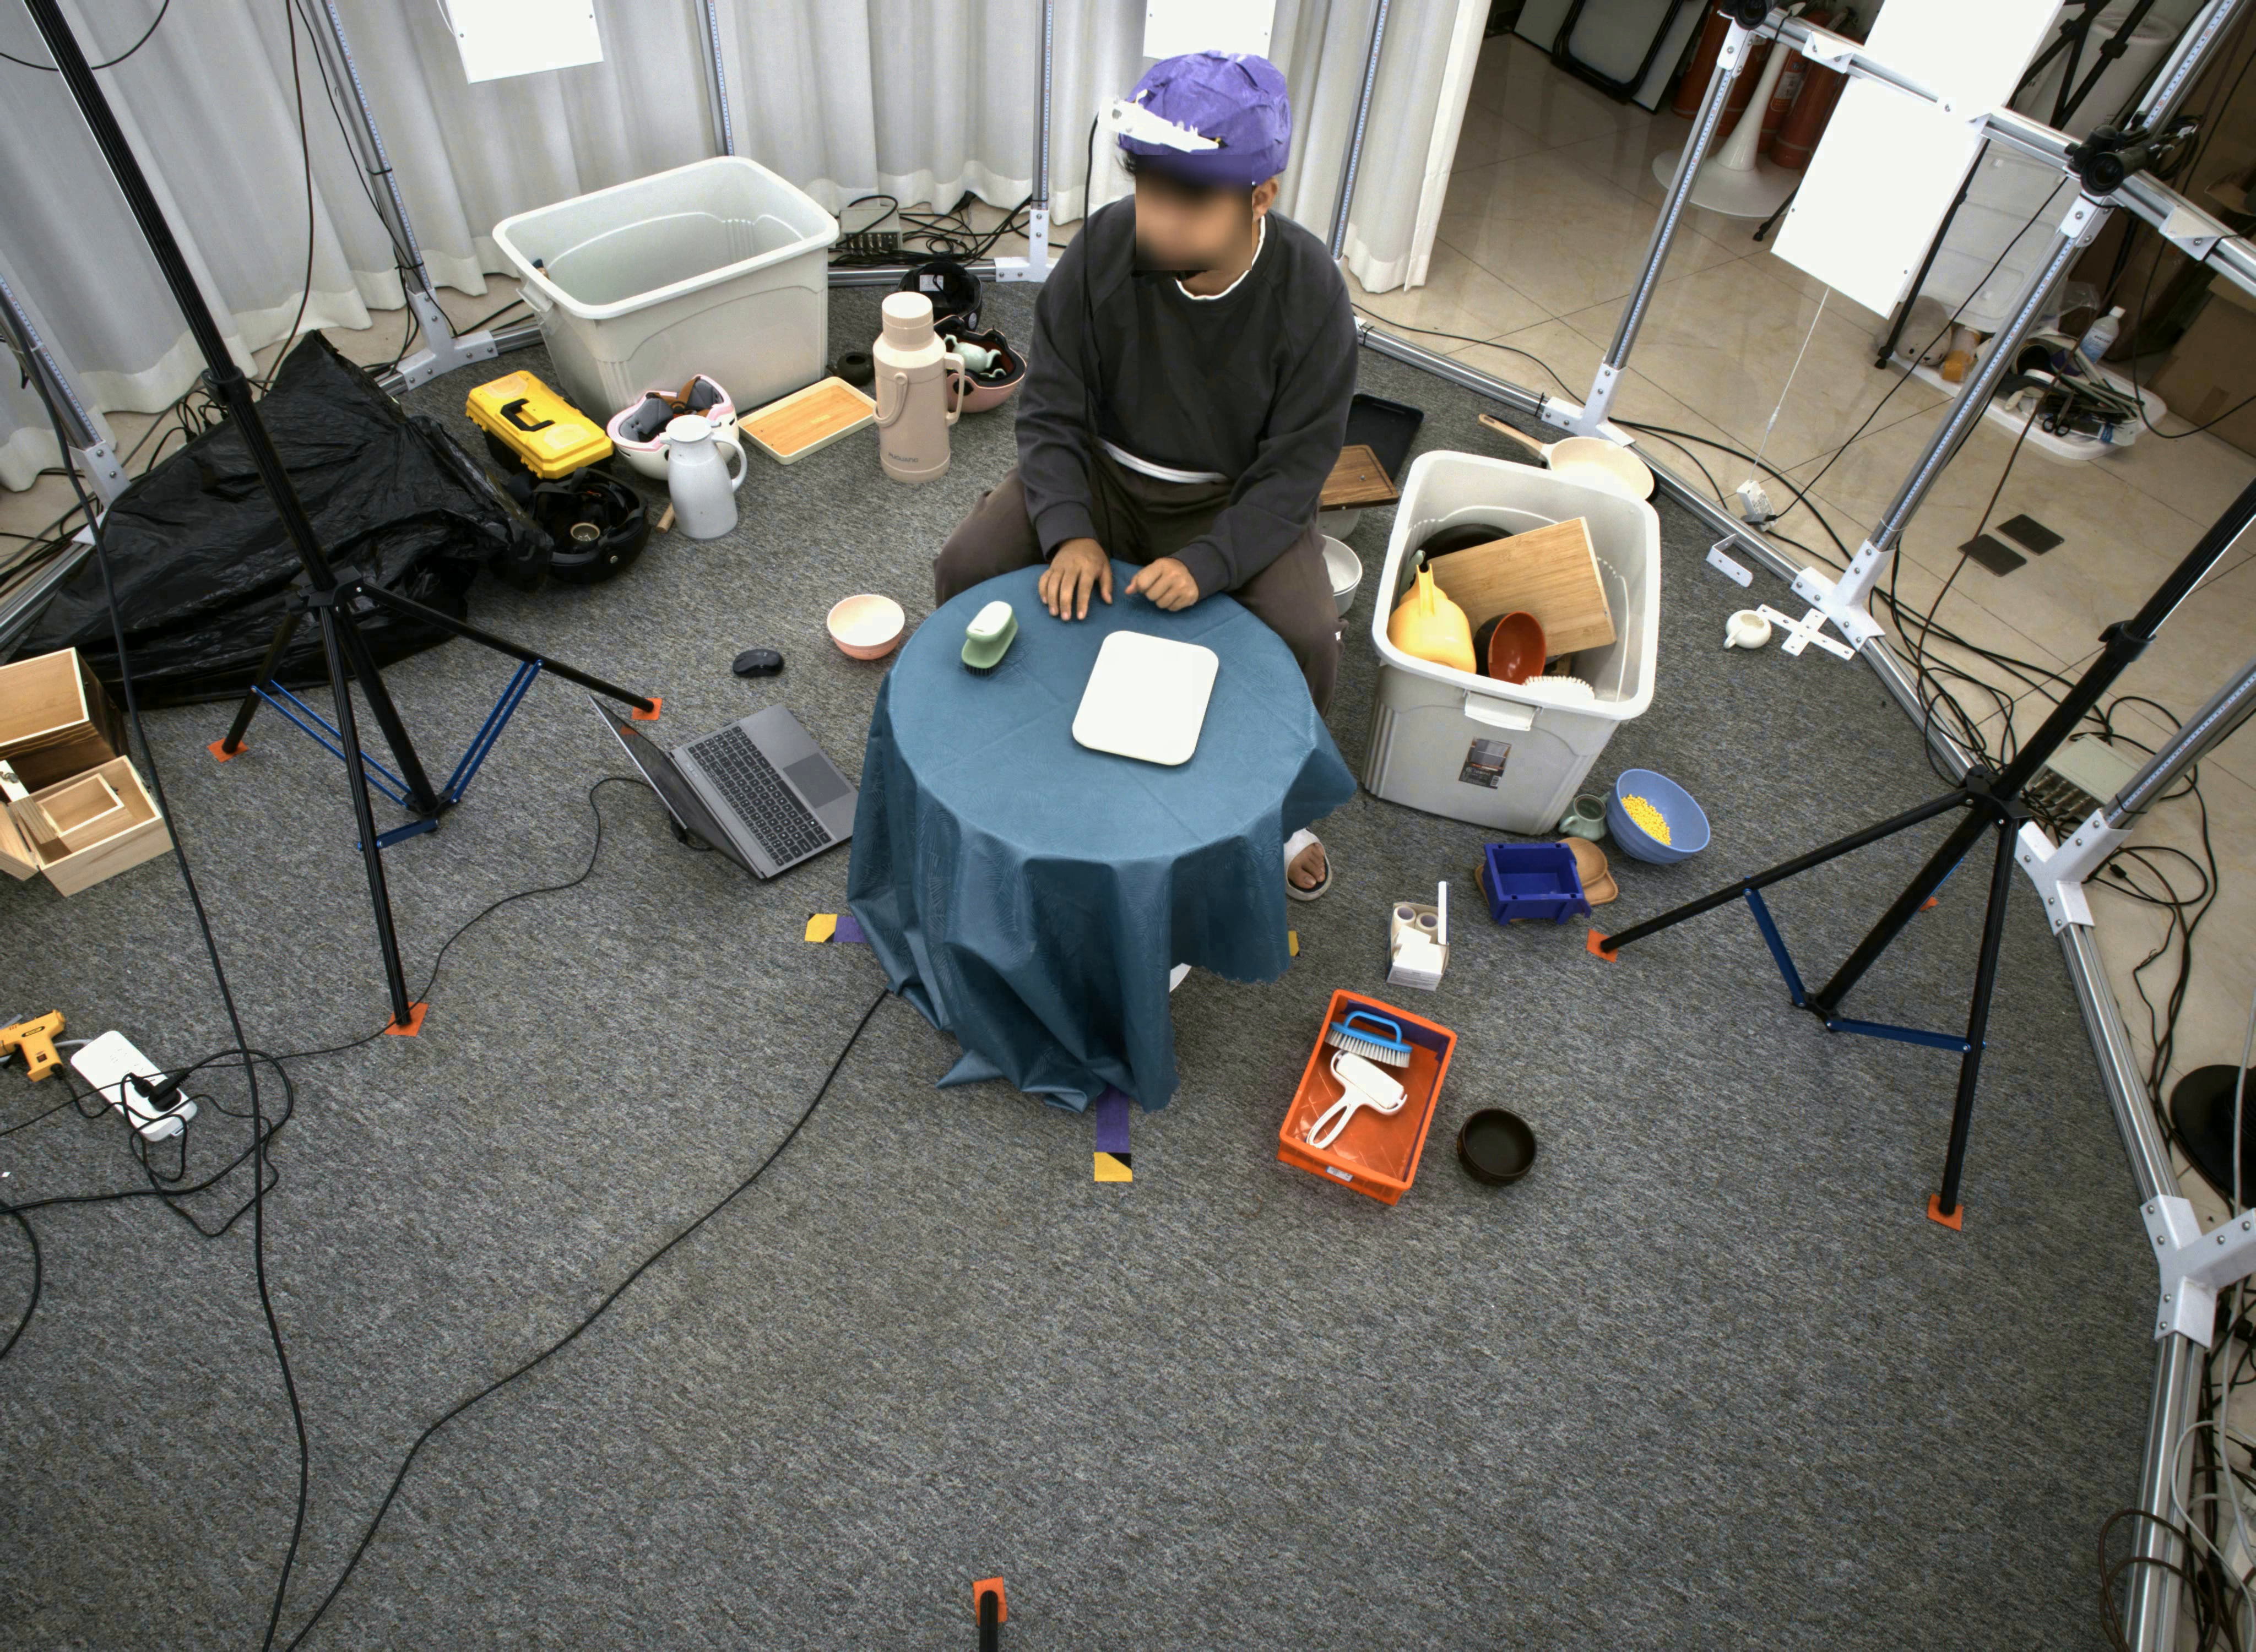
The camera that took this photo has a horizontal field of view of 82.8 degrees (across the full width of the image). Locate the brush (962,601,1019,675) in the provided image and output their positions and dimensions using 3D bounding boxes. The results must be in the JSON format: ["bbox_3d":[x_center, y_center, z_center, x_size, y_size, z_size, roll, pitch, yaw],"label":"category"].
[{"bbox_3d":[-0.198,-0.272,1.852,0.060,0.074,0.125,16,36,8],"label":"brush"}]

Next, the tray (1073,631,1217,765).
[{"bbox_3d":[0.027,-0.183,1.814,0.171,0.017,0.245,13,49,6],"label":"tray"}]
